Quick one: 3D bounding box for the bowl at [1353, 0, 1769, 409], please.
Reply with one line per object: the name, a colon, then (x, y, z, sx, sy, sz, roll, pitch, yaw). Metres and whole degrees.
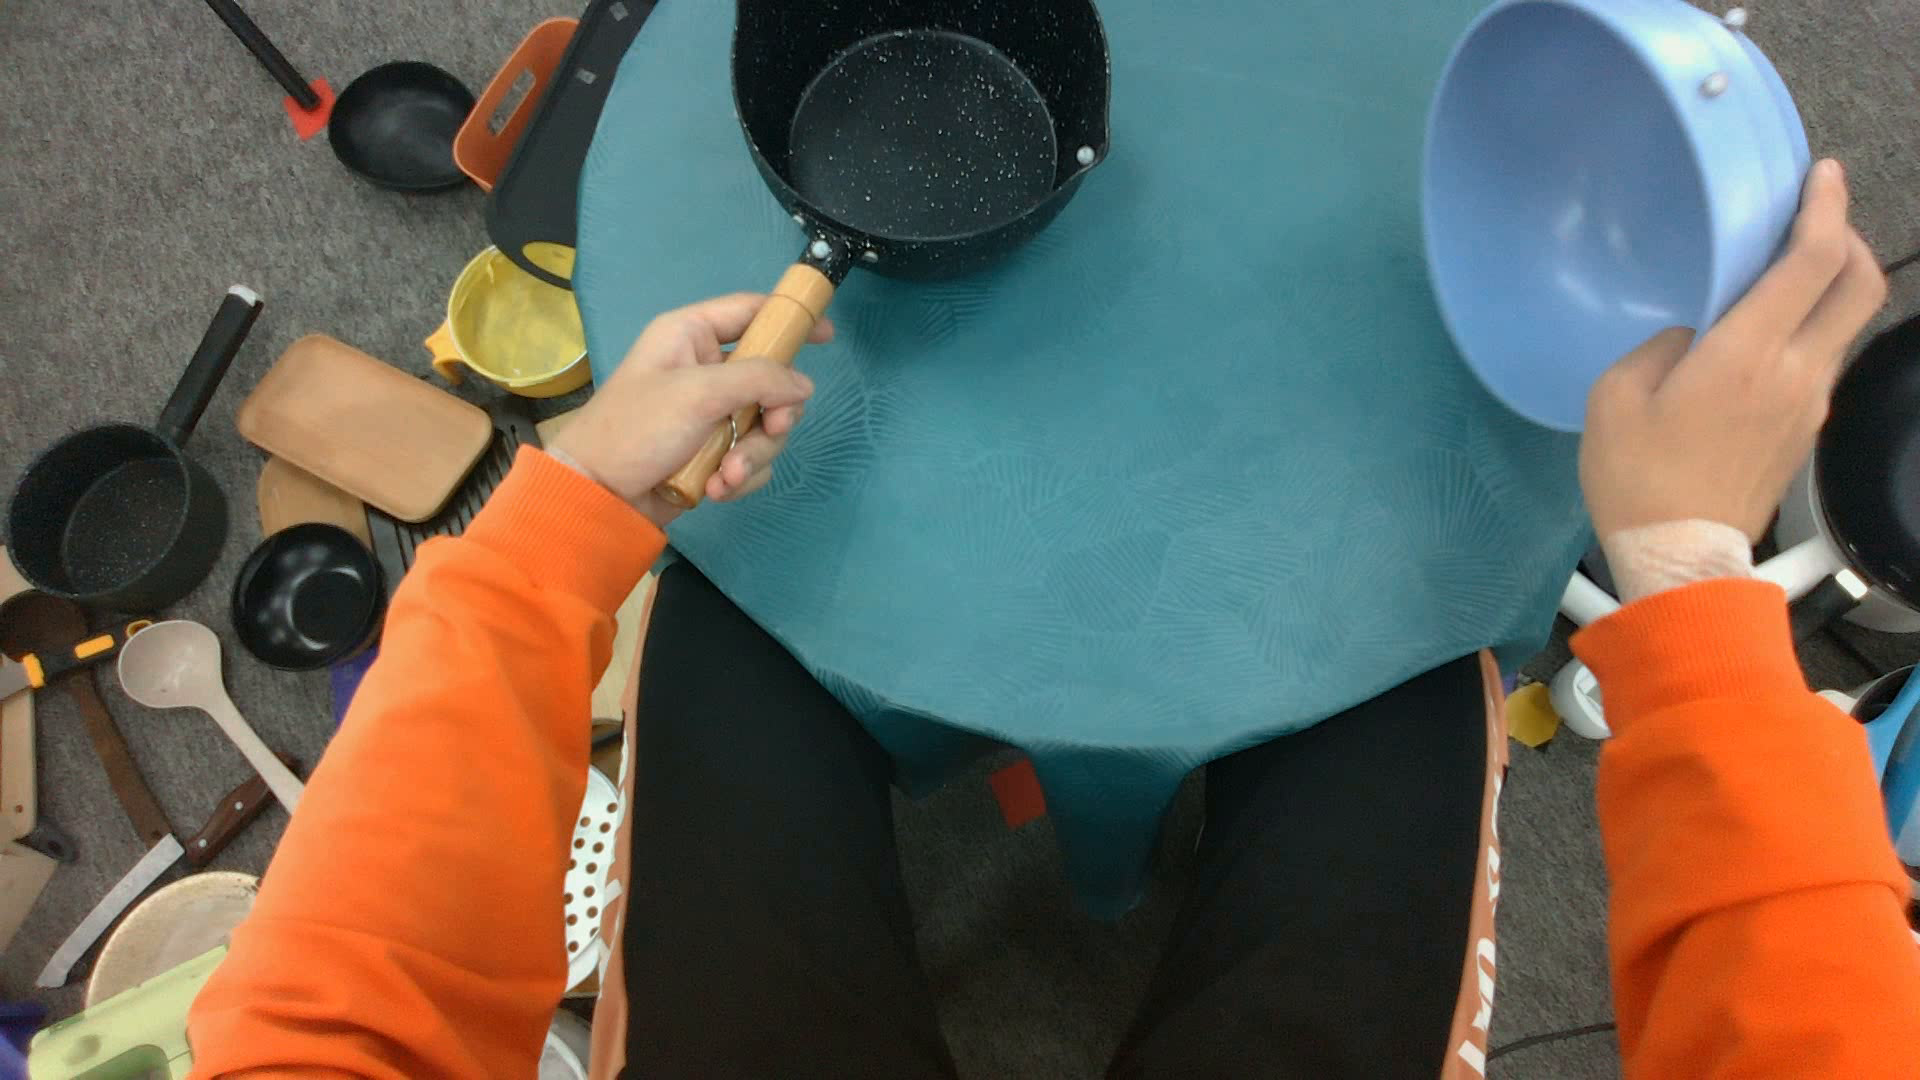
bowl: (0.285, -0.163, 0.631, 0.096, 0.195, 0.197, -10, 72, -26)

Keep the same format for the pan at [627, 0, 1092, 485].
pan: (-0.061, -0.163, 0.685, 0.207, 0.108, 0.343, 25, 75, 4)
